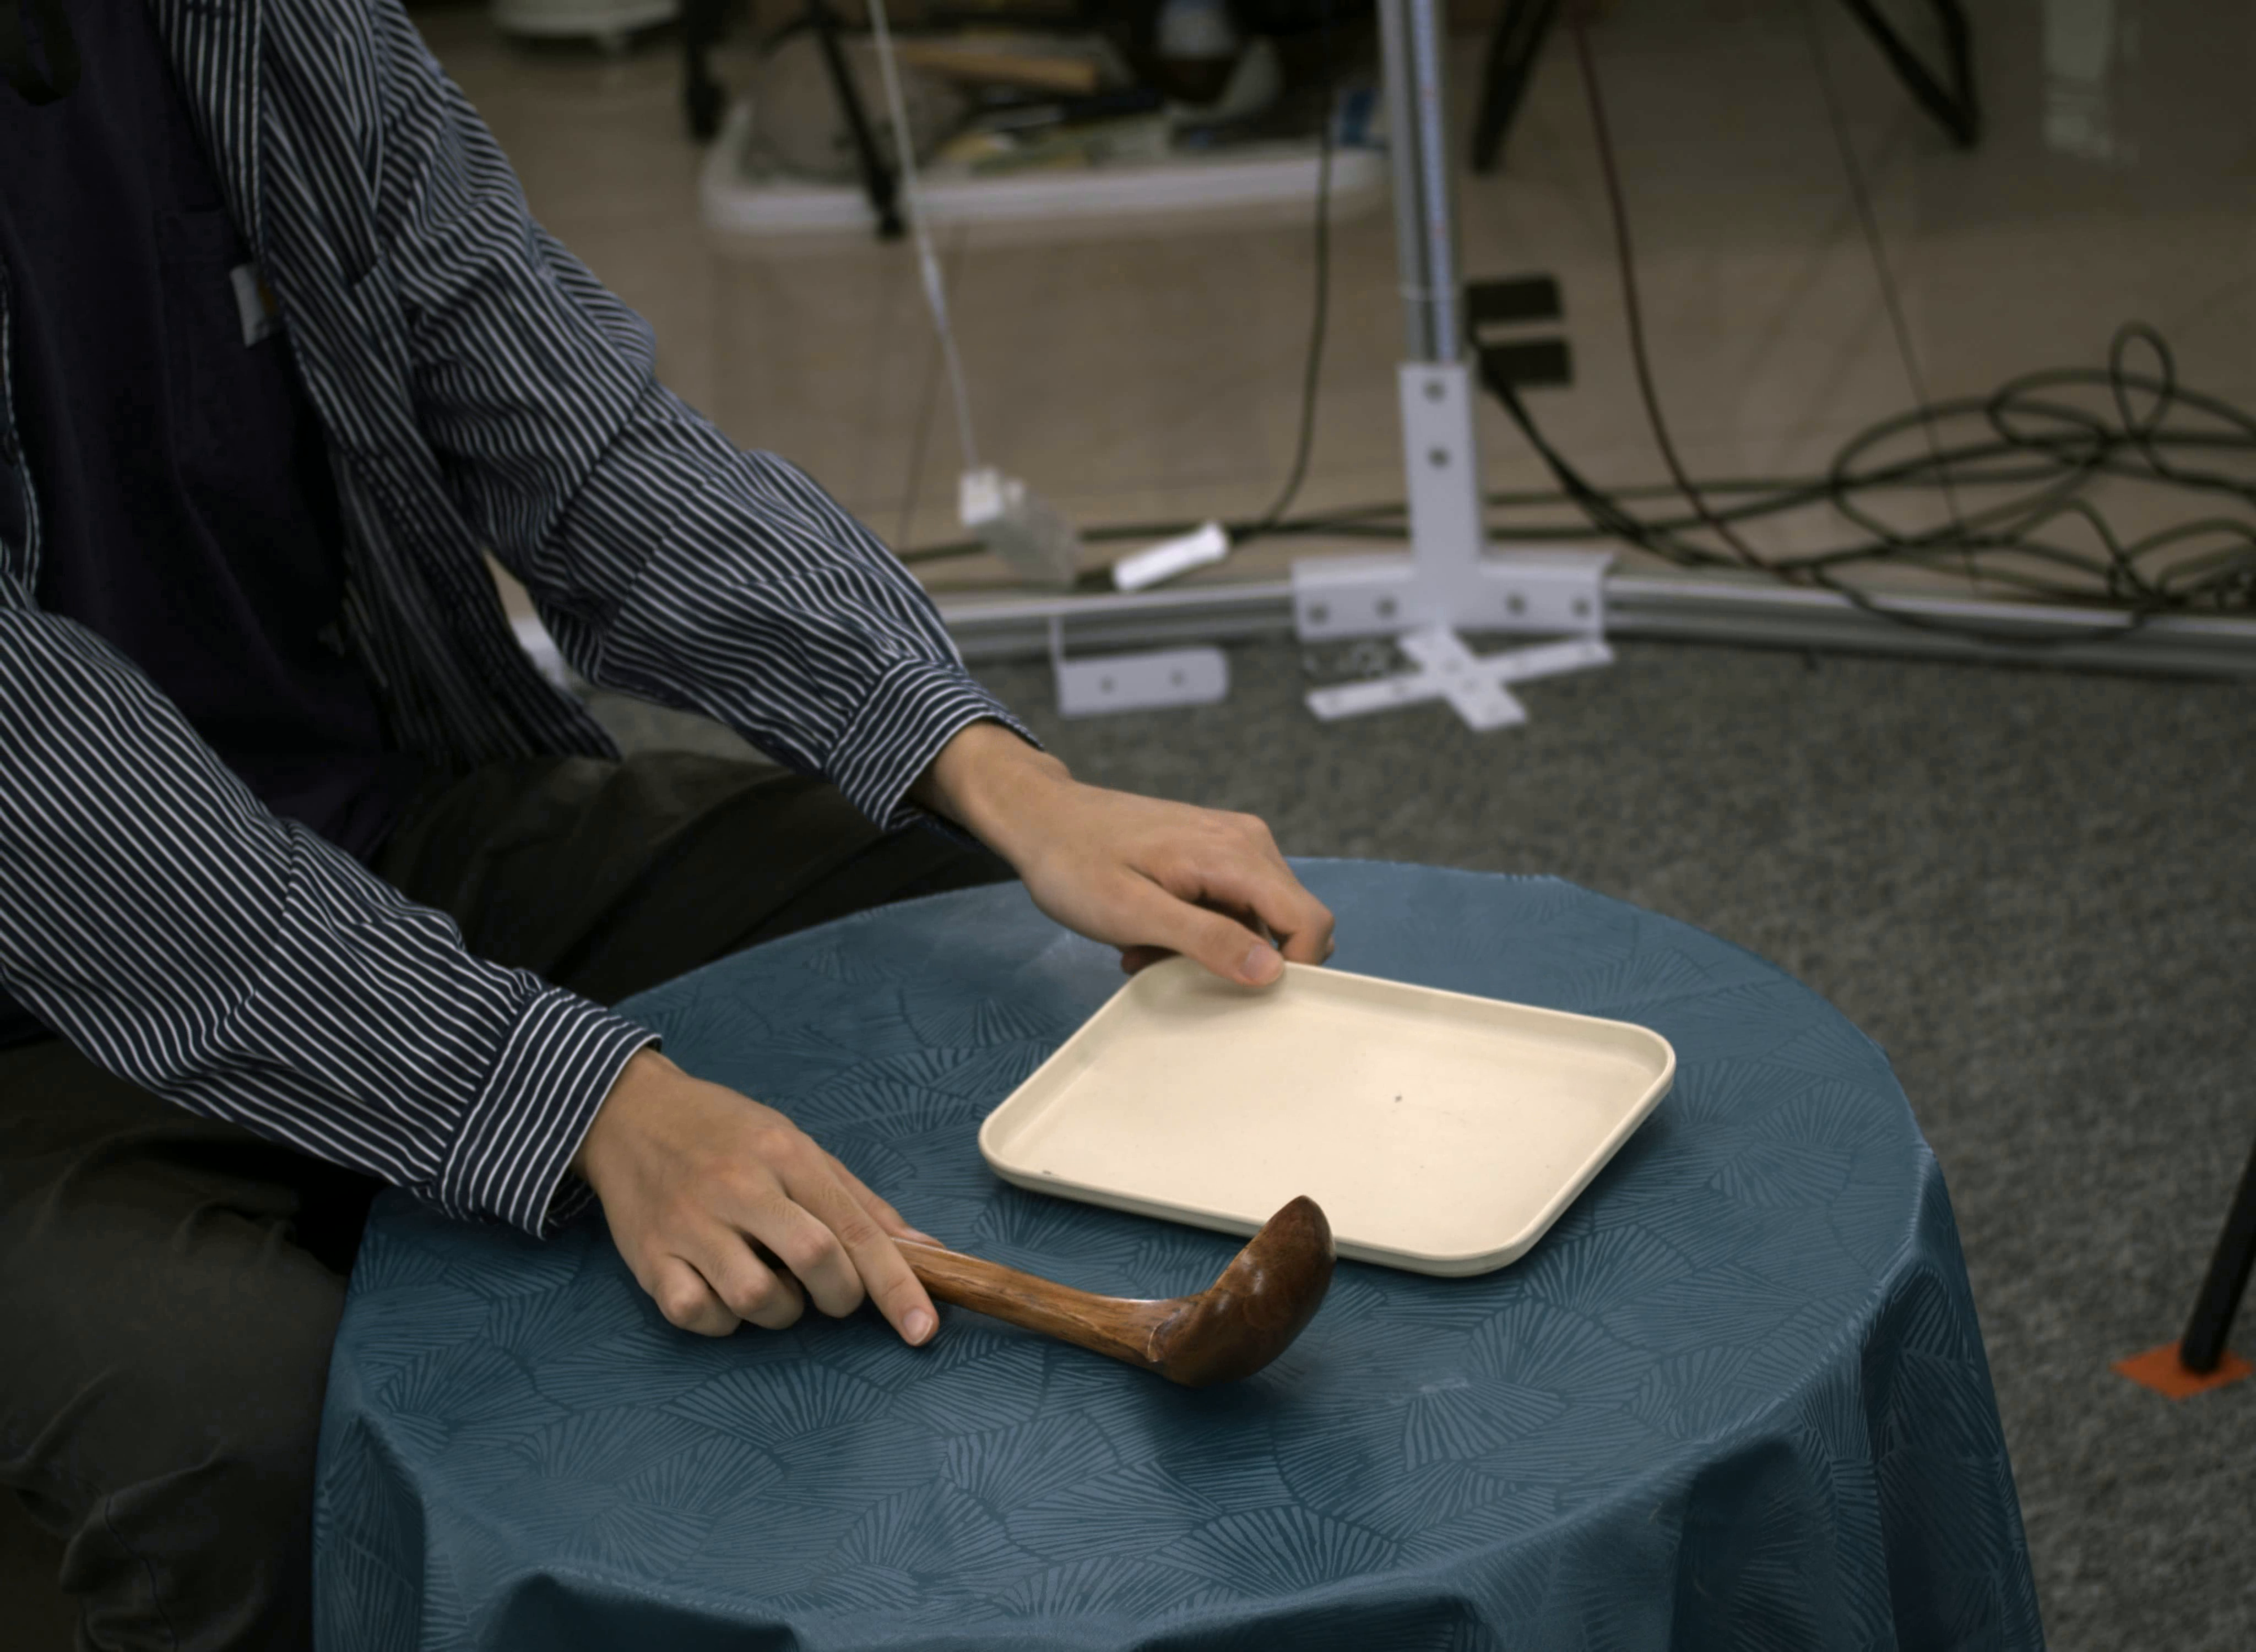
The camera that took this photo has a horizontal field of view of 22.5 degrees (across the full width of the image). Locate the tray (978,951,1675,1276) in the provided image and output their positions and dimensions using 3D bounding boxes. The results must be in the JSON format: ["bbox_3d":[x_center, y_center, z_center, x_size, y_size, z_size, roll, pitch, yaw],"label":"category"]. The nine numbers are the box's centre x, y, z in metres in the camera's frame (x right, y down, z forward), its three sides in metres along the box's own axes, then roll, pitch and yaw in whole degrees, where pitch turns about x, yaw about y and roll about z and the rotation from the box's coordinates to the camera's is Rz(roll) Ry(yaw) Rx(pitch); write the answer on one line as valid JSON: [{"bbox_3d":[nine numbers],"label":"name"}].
[{"bbox_3d":[0.076,0.109,2.162,0.238,0.018,0.169,10,34,31],"label":"tray"}]

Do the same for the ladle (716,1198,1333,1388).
[{"bbox_3d":[-0.046,0.147,2.052,0.272,0.078,0.081,13,31,34],"label":"ladle"}]
